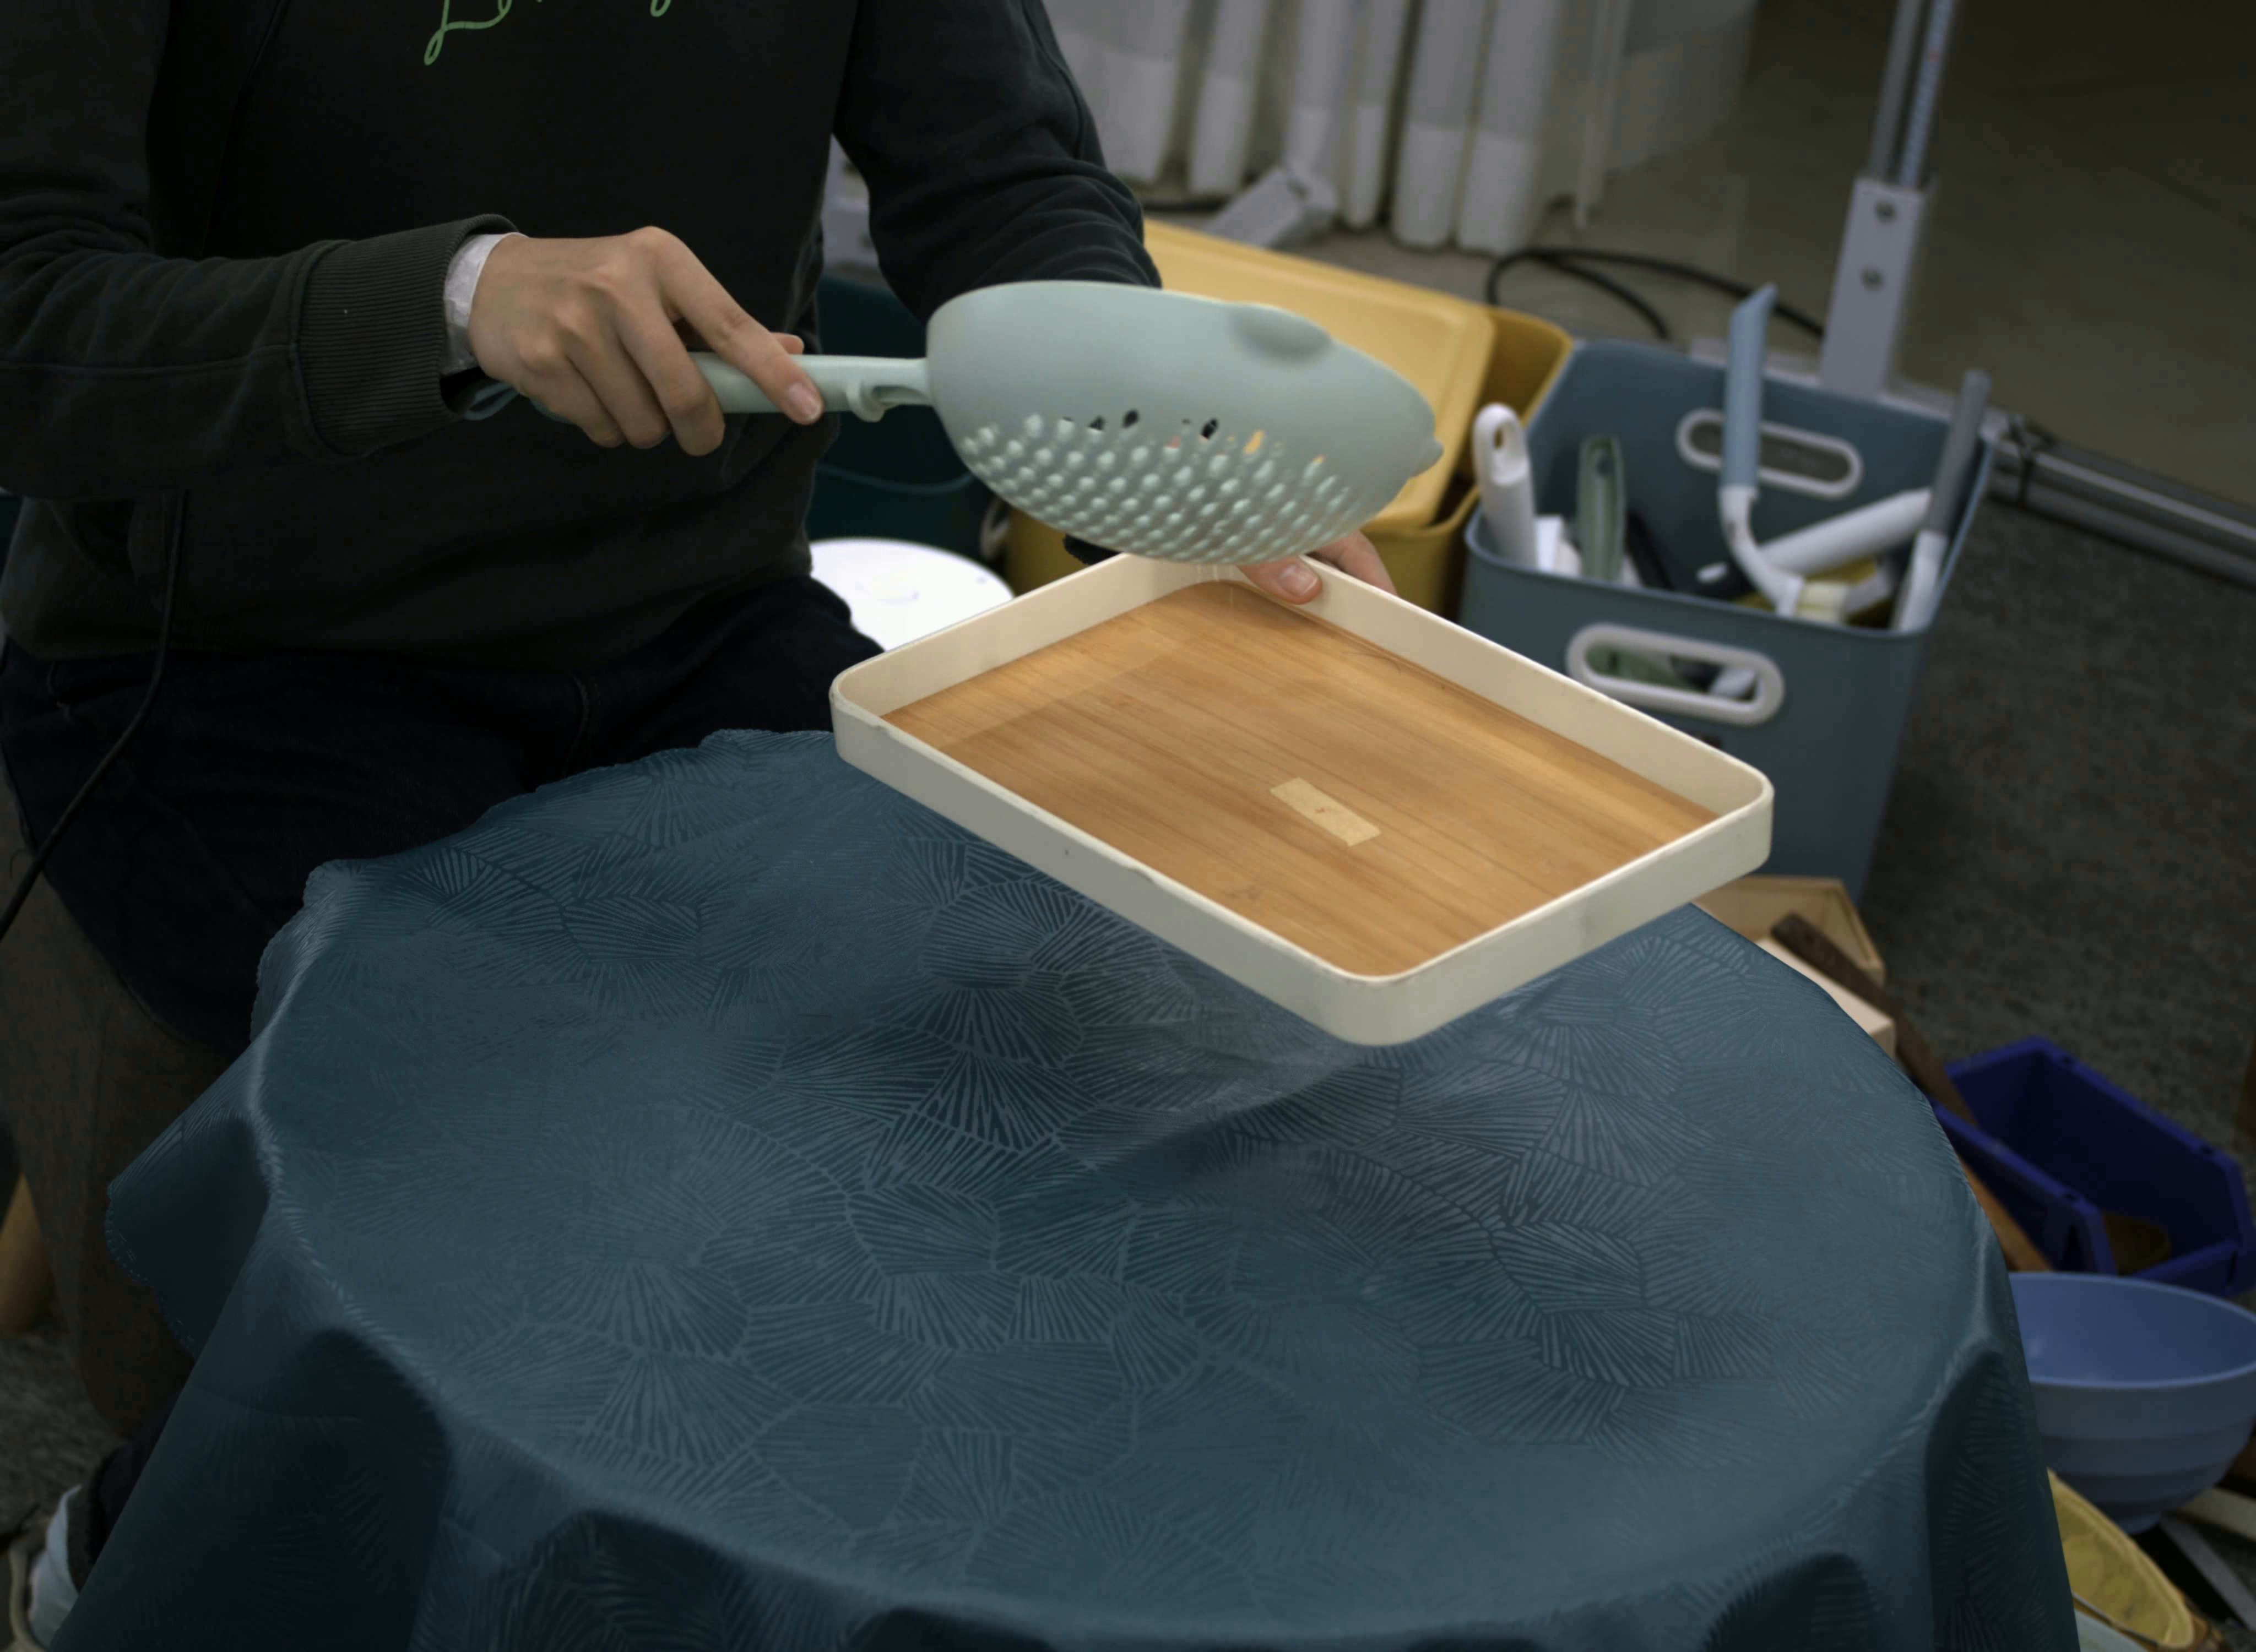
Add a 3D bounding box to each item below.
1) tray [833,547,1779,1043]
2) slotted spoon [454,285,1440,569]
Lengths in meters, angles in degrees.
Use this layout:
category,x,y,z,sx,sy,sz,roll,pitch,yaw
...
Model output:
category,x,y,z,sx,sy,sz,roll,pitch,yaw
tray,0.057,-0.020,1.820,0.191,0.027,0.303,-24,34,-31
slotted spoon,-0.073,-0.139,1.789,0.360,0.075,0.168,12,-12,30
